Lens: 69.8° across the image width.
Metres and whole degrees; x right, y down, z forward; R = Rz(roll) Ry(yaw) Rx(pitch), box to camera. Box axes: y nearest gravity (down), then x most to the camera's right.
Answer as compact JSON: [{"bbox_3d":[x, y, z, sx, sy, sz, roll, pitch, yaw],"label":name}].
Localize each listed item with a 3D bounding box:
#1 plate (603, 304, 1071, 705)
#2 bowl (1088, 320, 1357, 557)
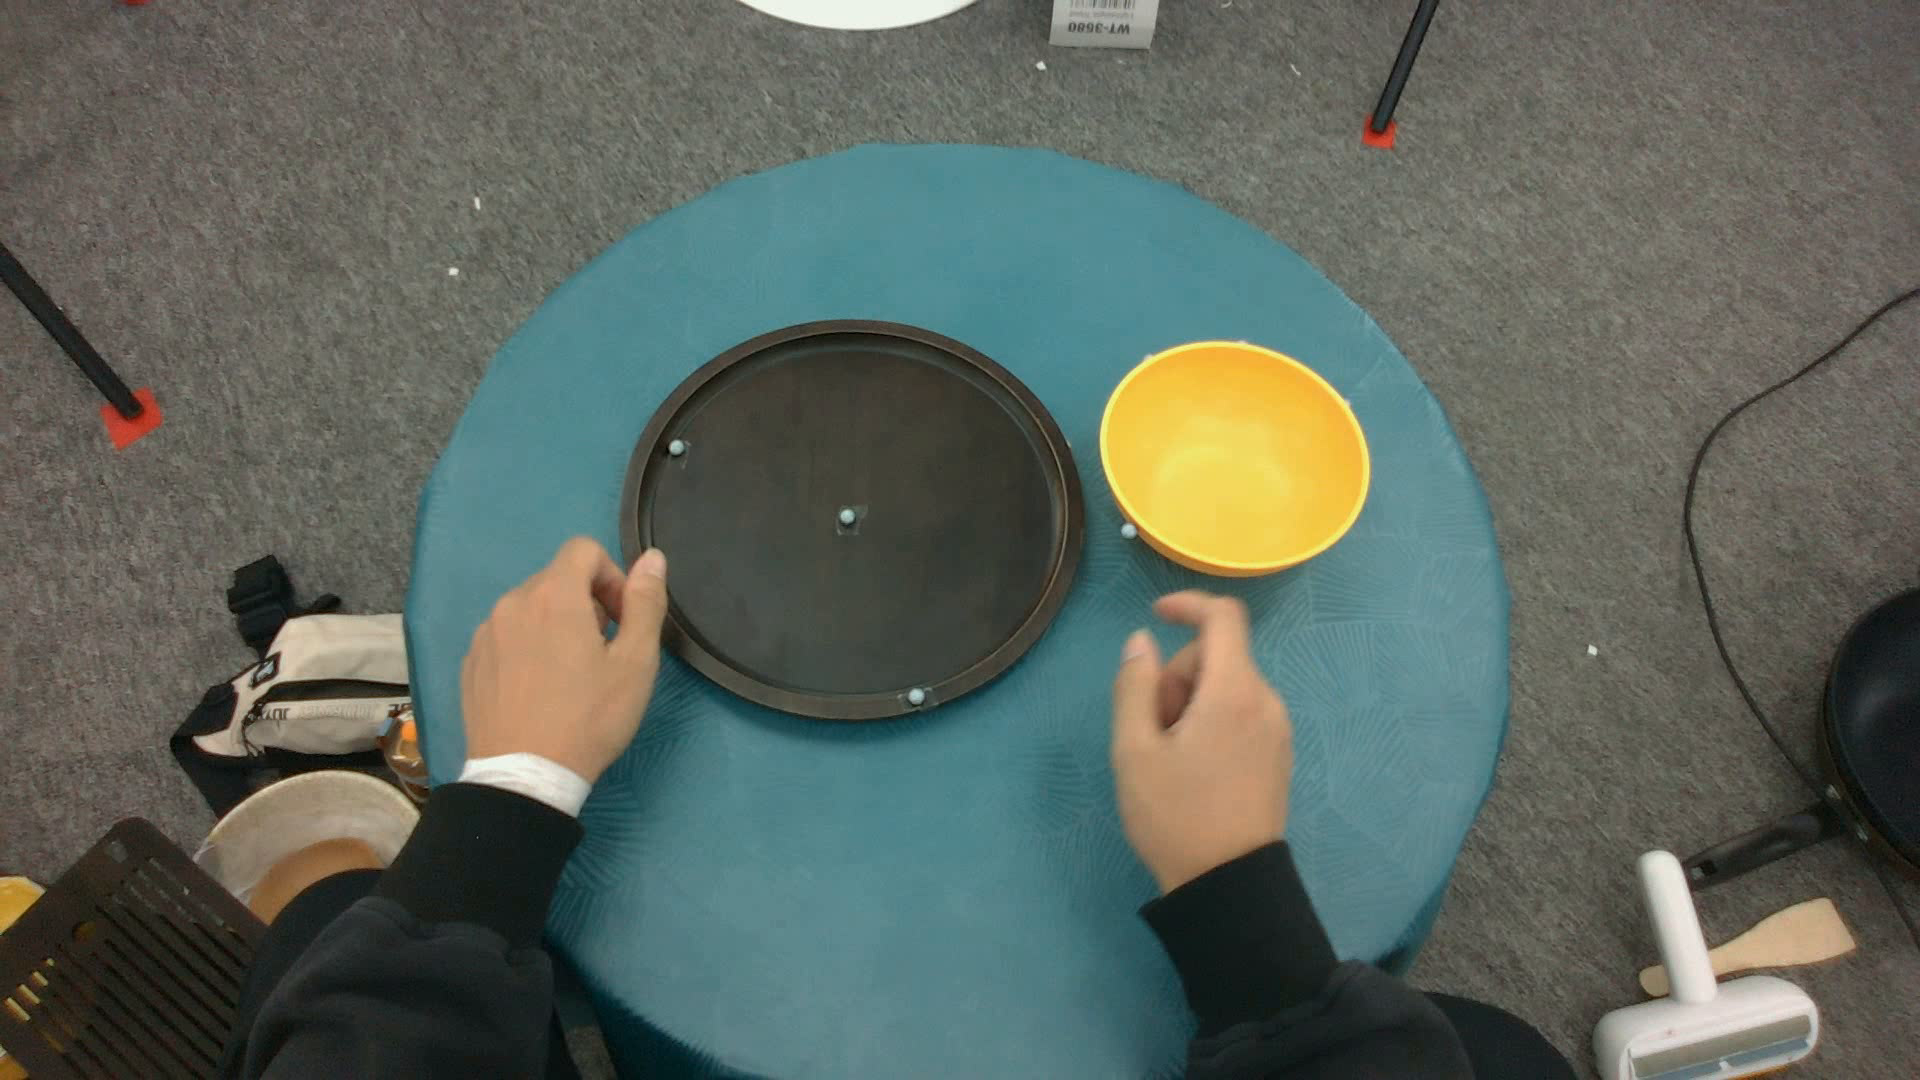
[{"bbox_3d":[-0.065,-0.026,0.754,0.255,0.029,0.256,3,61,-5],"label":"plate"},{"bbox_3d":[0.140,-0.046,0.764,0.145,0.060,0.146,1,63,-2],"label":"bowl"}]
